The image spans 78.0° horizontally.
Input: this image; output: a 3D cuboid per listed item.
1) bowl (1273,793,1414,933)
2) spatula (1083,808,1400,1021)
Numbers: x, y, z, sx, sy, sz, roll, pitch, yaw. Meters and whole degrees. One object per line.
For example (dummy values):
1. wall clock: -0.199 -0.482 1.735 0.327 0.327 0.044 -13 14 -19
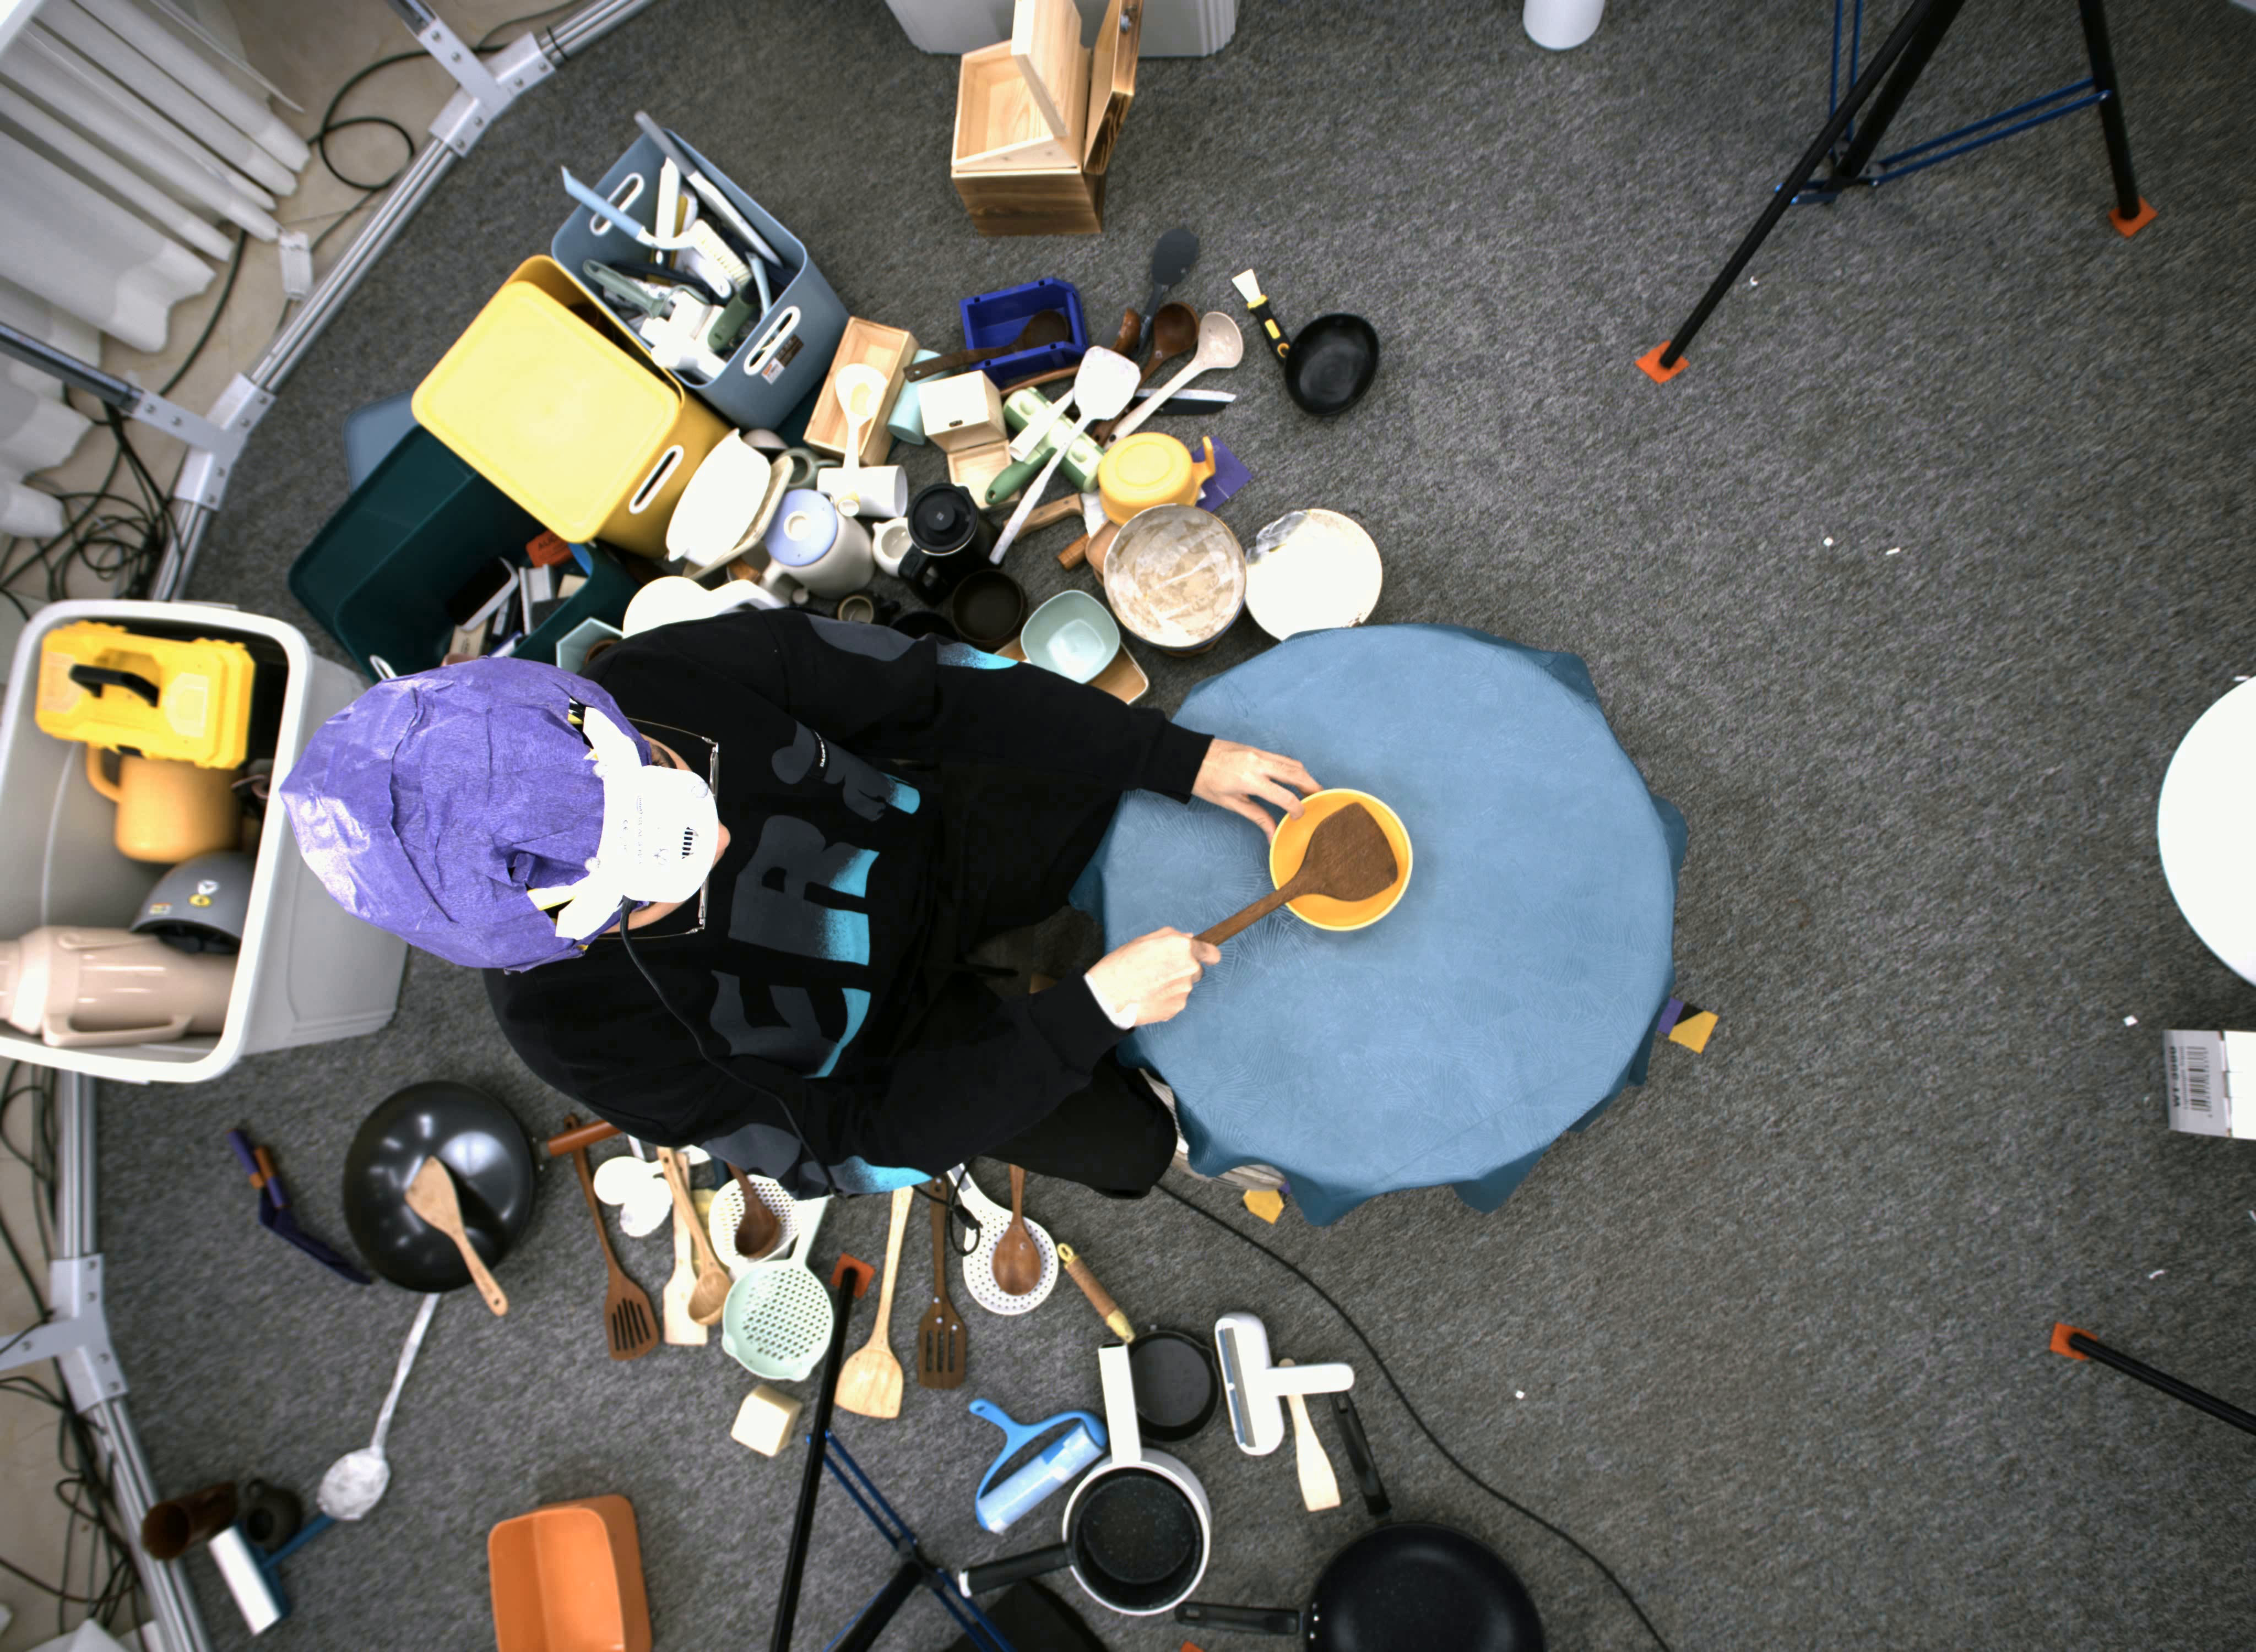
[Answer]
1. bowl: 0.224 0.038 1.443 0.146 0.060 0.145 0 91 11
2. spatula: 0.114 0.091 1.327 0.380 0.016 0.096 -27 89 -28
